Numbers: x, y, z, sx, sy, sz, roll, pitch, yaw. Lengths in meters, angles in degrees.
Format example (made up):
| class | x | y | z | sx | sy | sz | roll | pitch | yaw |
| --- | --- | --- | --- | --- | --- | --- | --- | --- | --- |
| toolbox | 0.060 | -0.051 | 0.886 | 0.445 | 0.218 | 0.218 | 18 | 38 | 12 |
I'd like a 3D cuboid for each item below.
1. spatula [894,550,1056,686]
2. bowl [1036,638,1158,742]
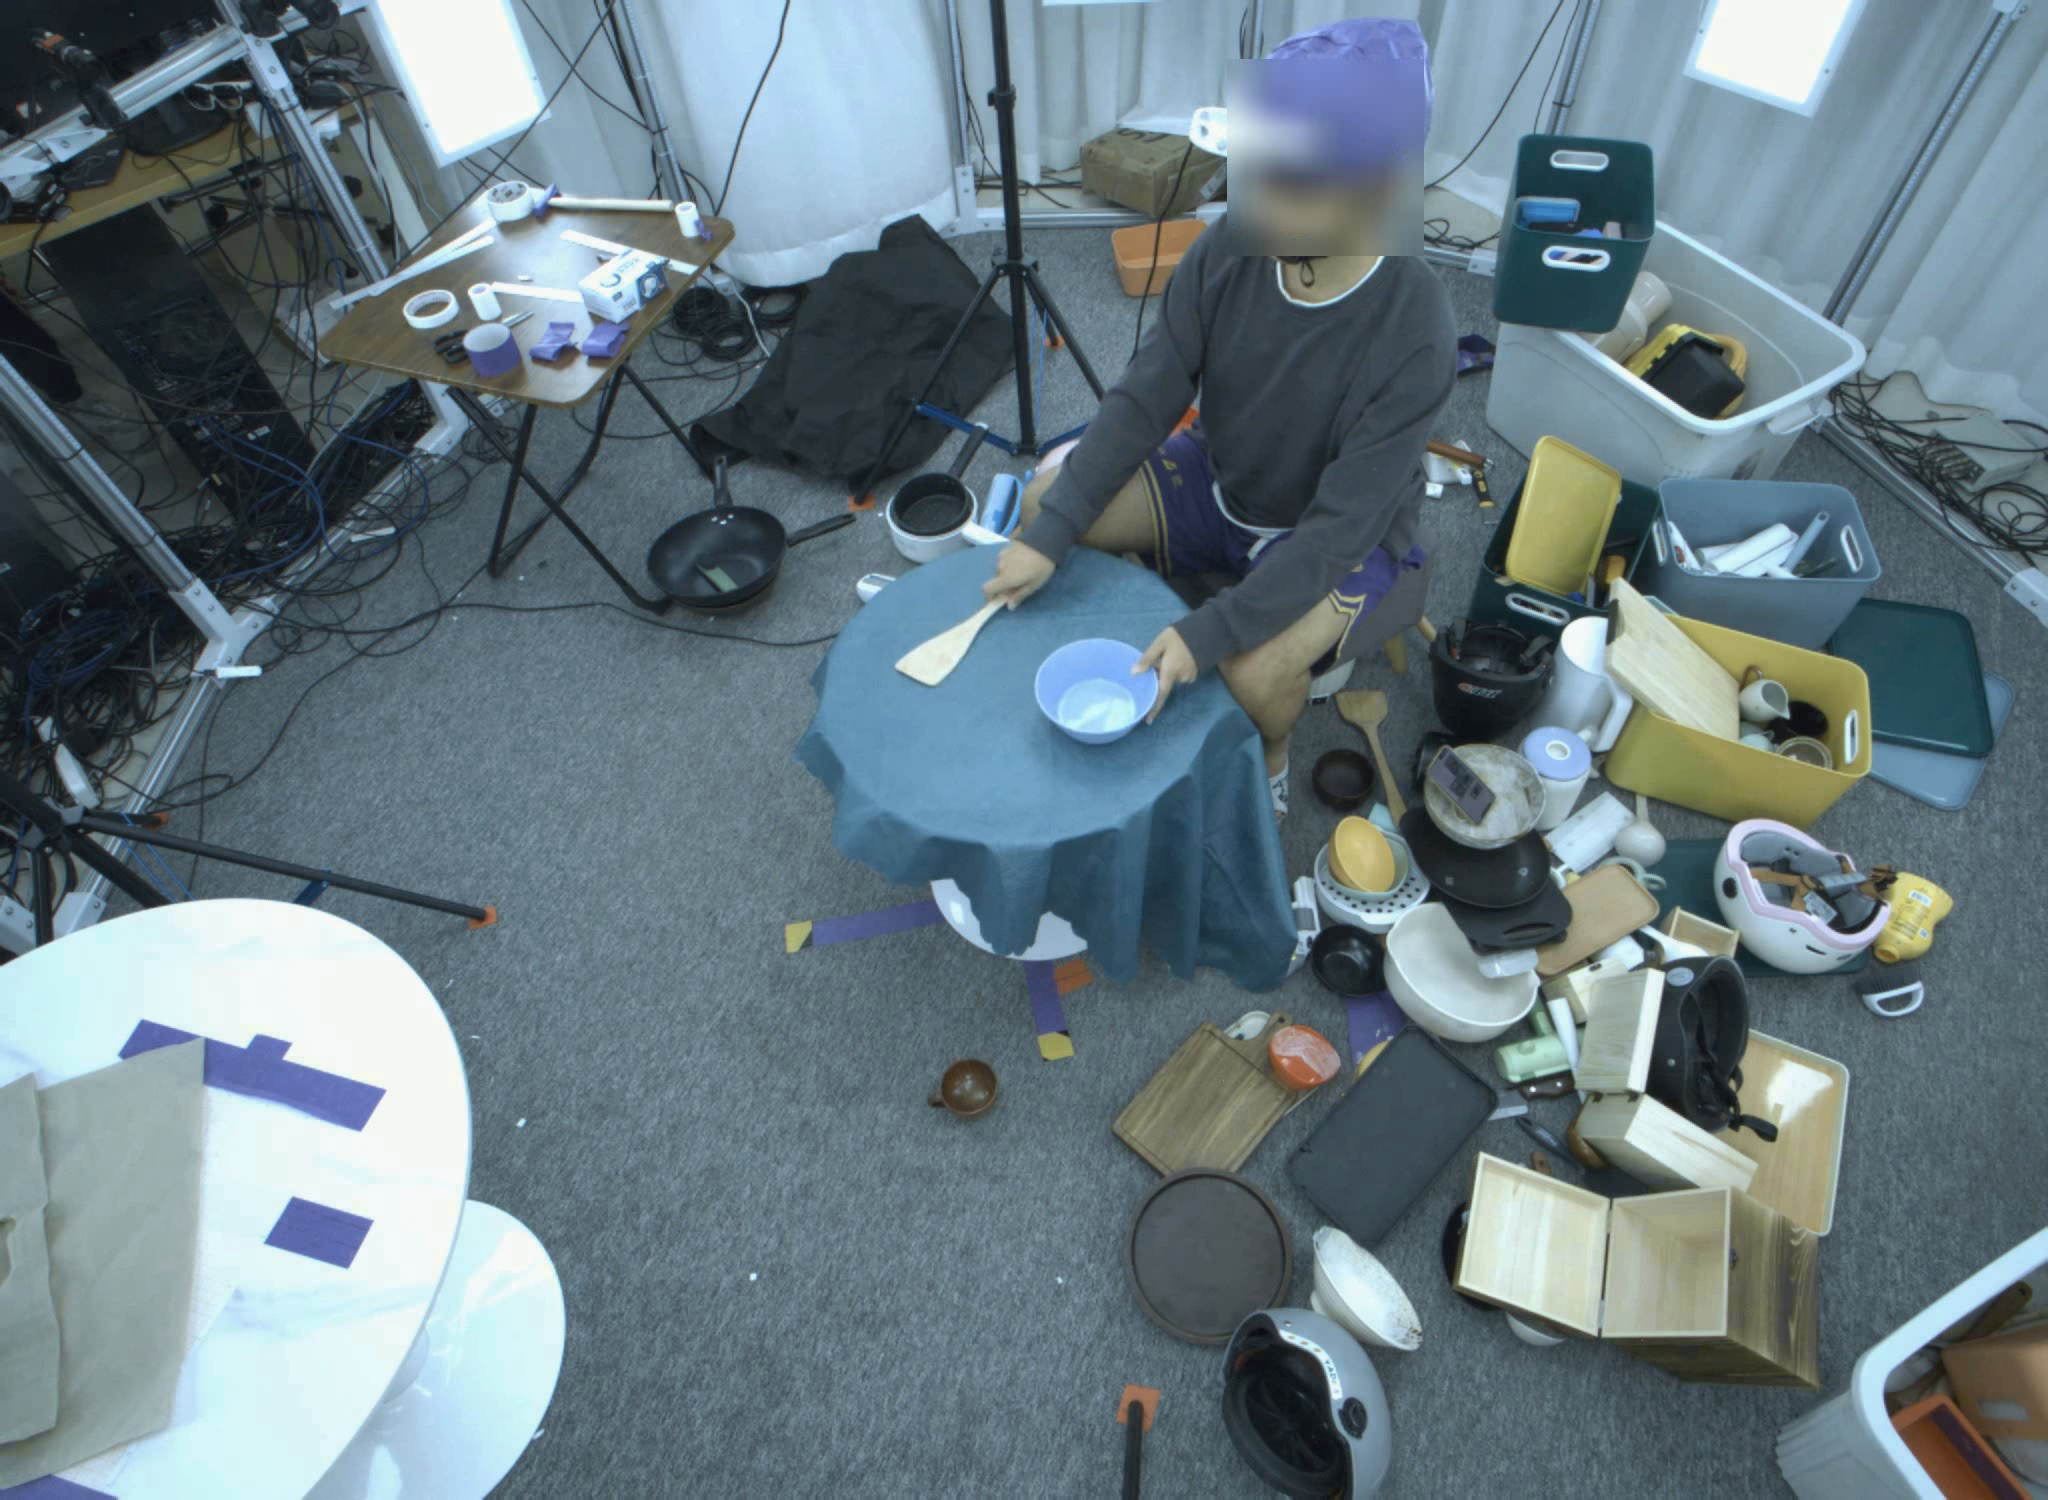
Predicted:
| class | x | y | z | sx | sy | sz | roll | pitch | yaw |
| --- | --- | --- | --- | --- | --- | --- | --- | --- | --- |
| spatula | -0.065 | -0.214 | 1.926 | 0.078 | 0.017 | 0.329 | 37 | 69 | 24 |
| bowl | 0.107 | -0.077 | 1.798 | 0.176 | 0.071 | 0.174 | -1 | 55 | 2 |
